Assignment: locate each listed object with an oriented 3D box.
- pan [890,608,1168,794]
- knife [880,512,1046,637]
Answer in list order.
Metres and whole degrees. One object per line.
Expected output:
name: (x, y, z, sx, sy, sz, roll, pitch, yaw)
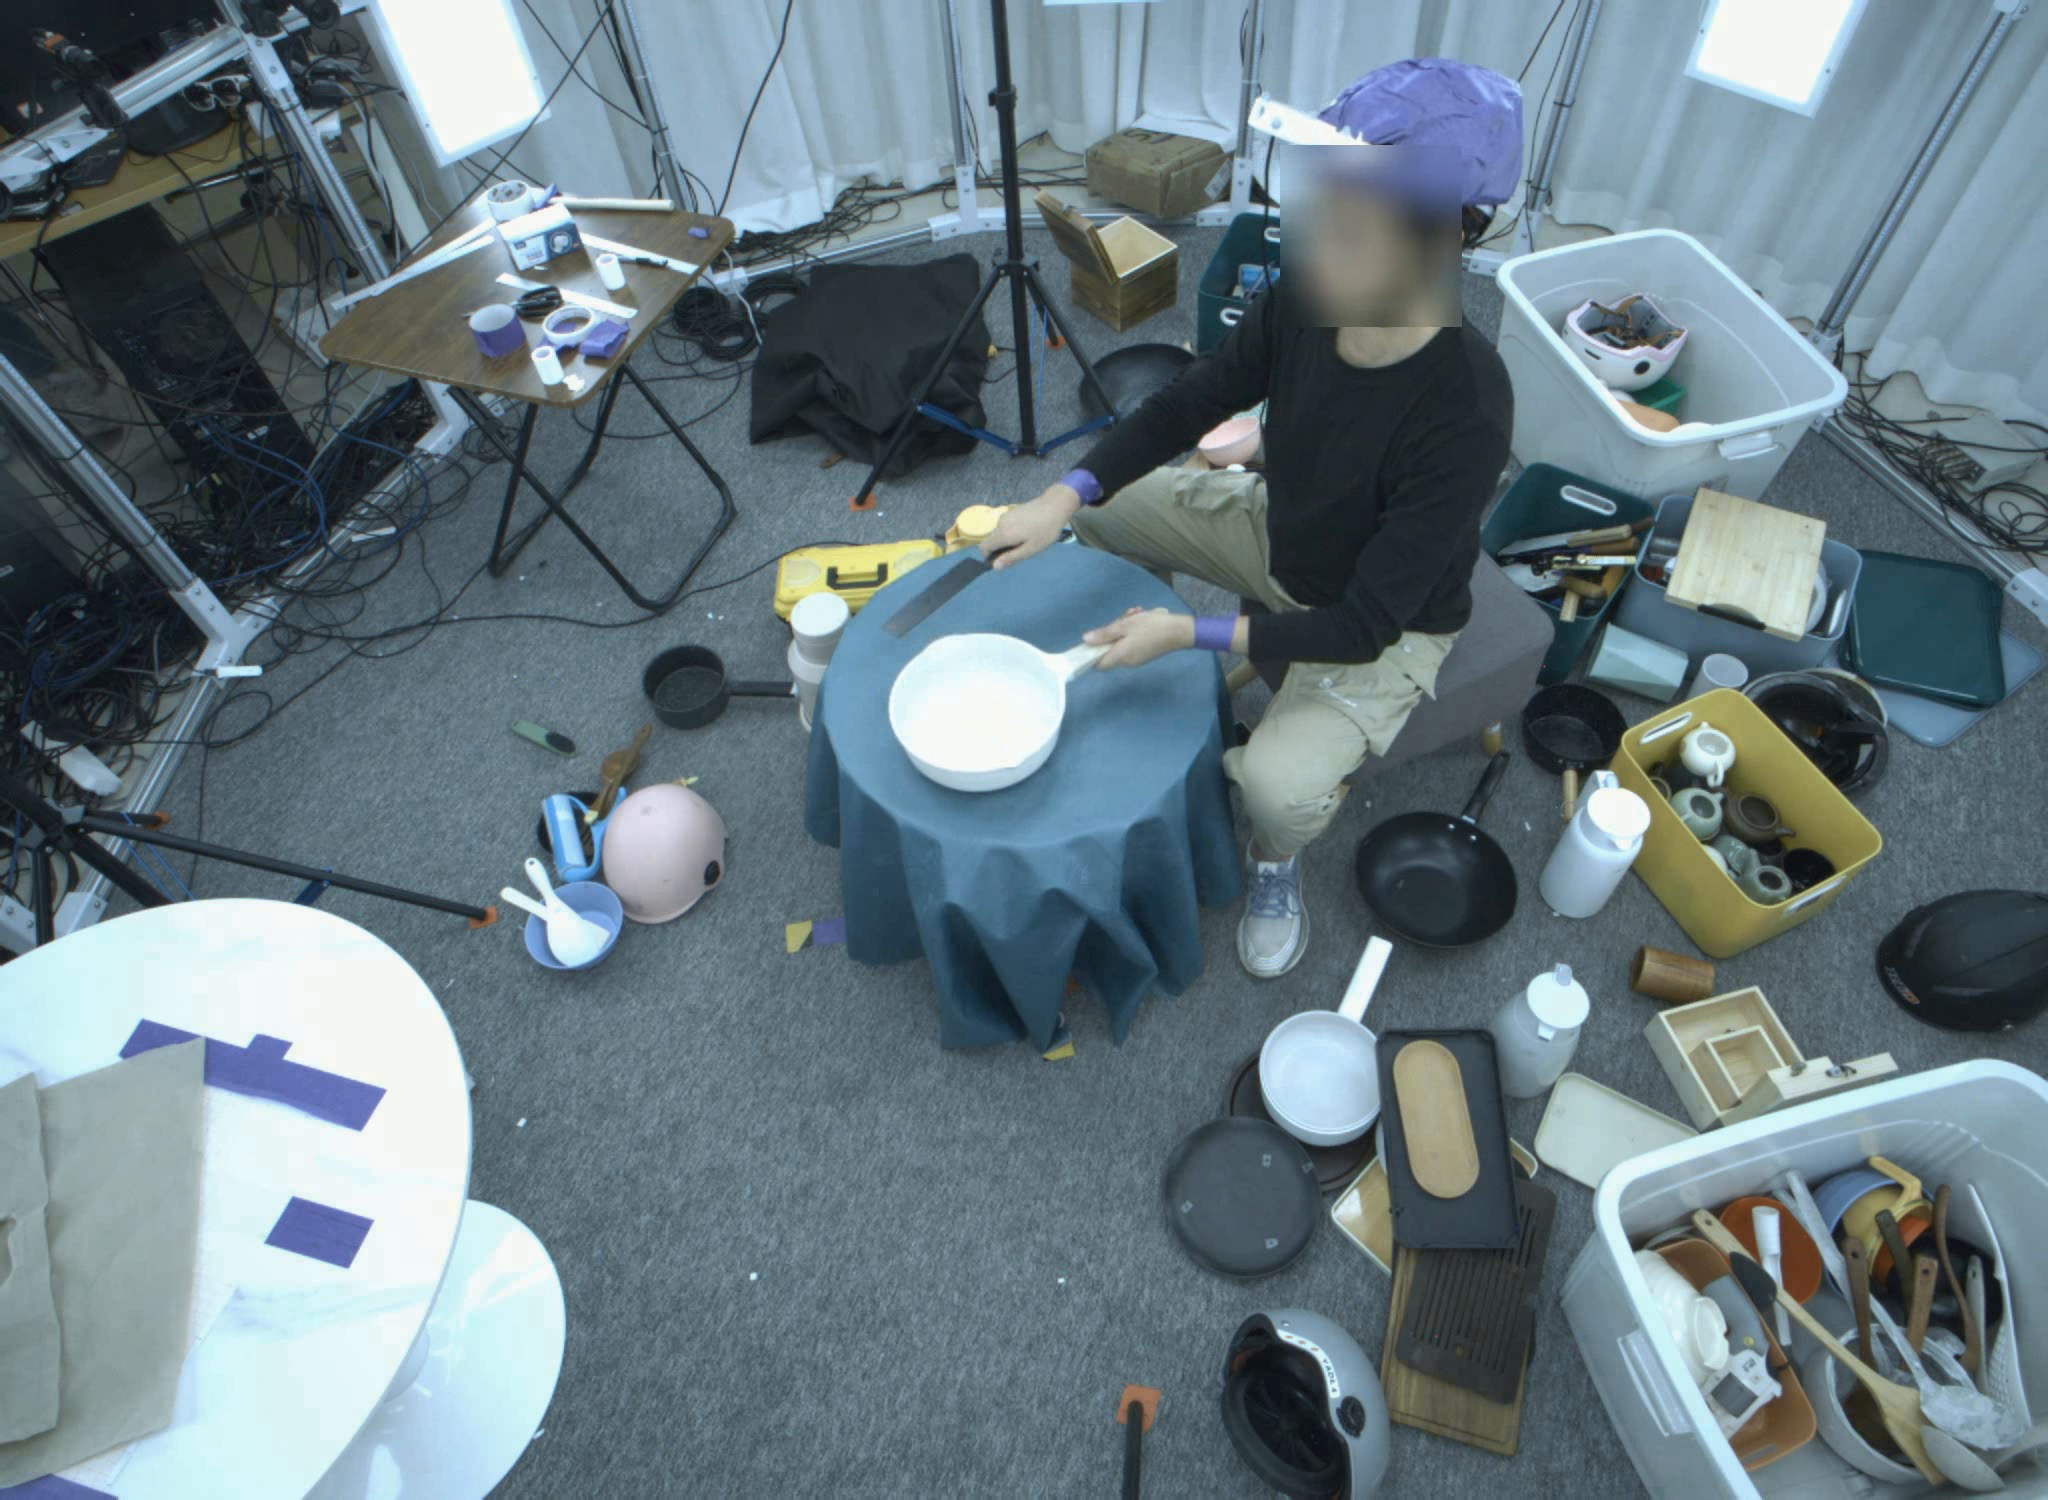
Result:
pan: (0.020, -0.085, 1.782, 0.438, 0.103, 0.258, -24, 55, -14)
knife: (-0.086, -0.263, 1.814, 0.304, 0.021, 0.079, -38, 39, -14)
